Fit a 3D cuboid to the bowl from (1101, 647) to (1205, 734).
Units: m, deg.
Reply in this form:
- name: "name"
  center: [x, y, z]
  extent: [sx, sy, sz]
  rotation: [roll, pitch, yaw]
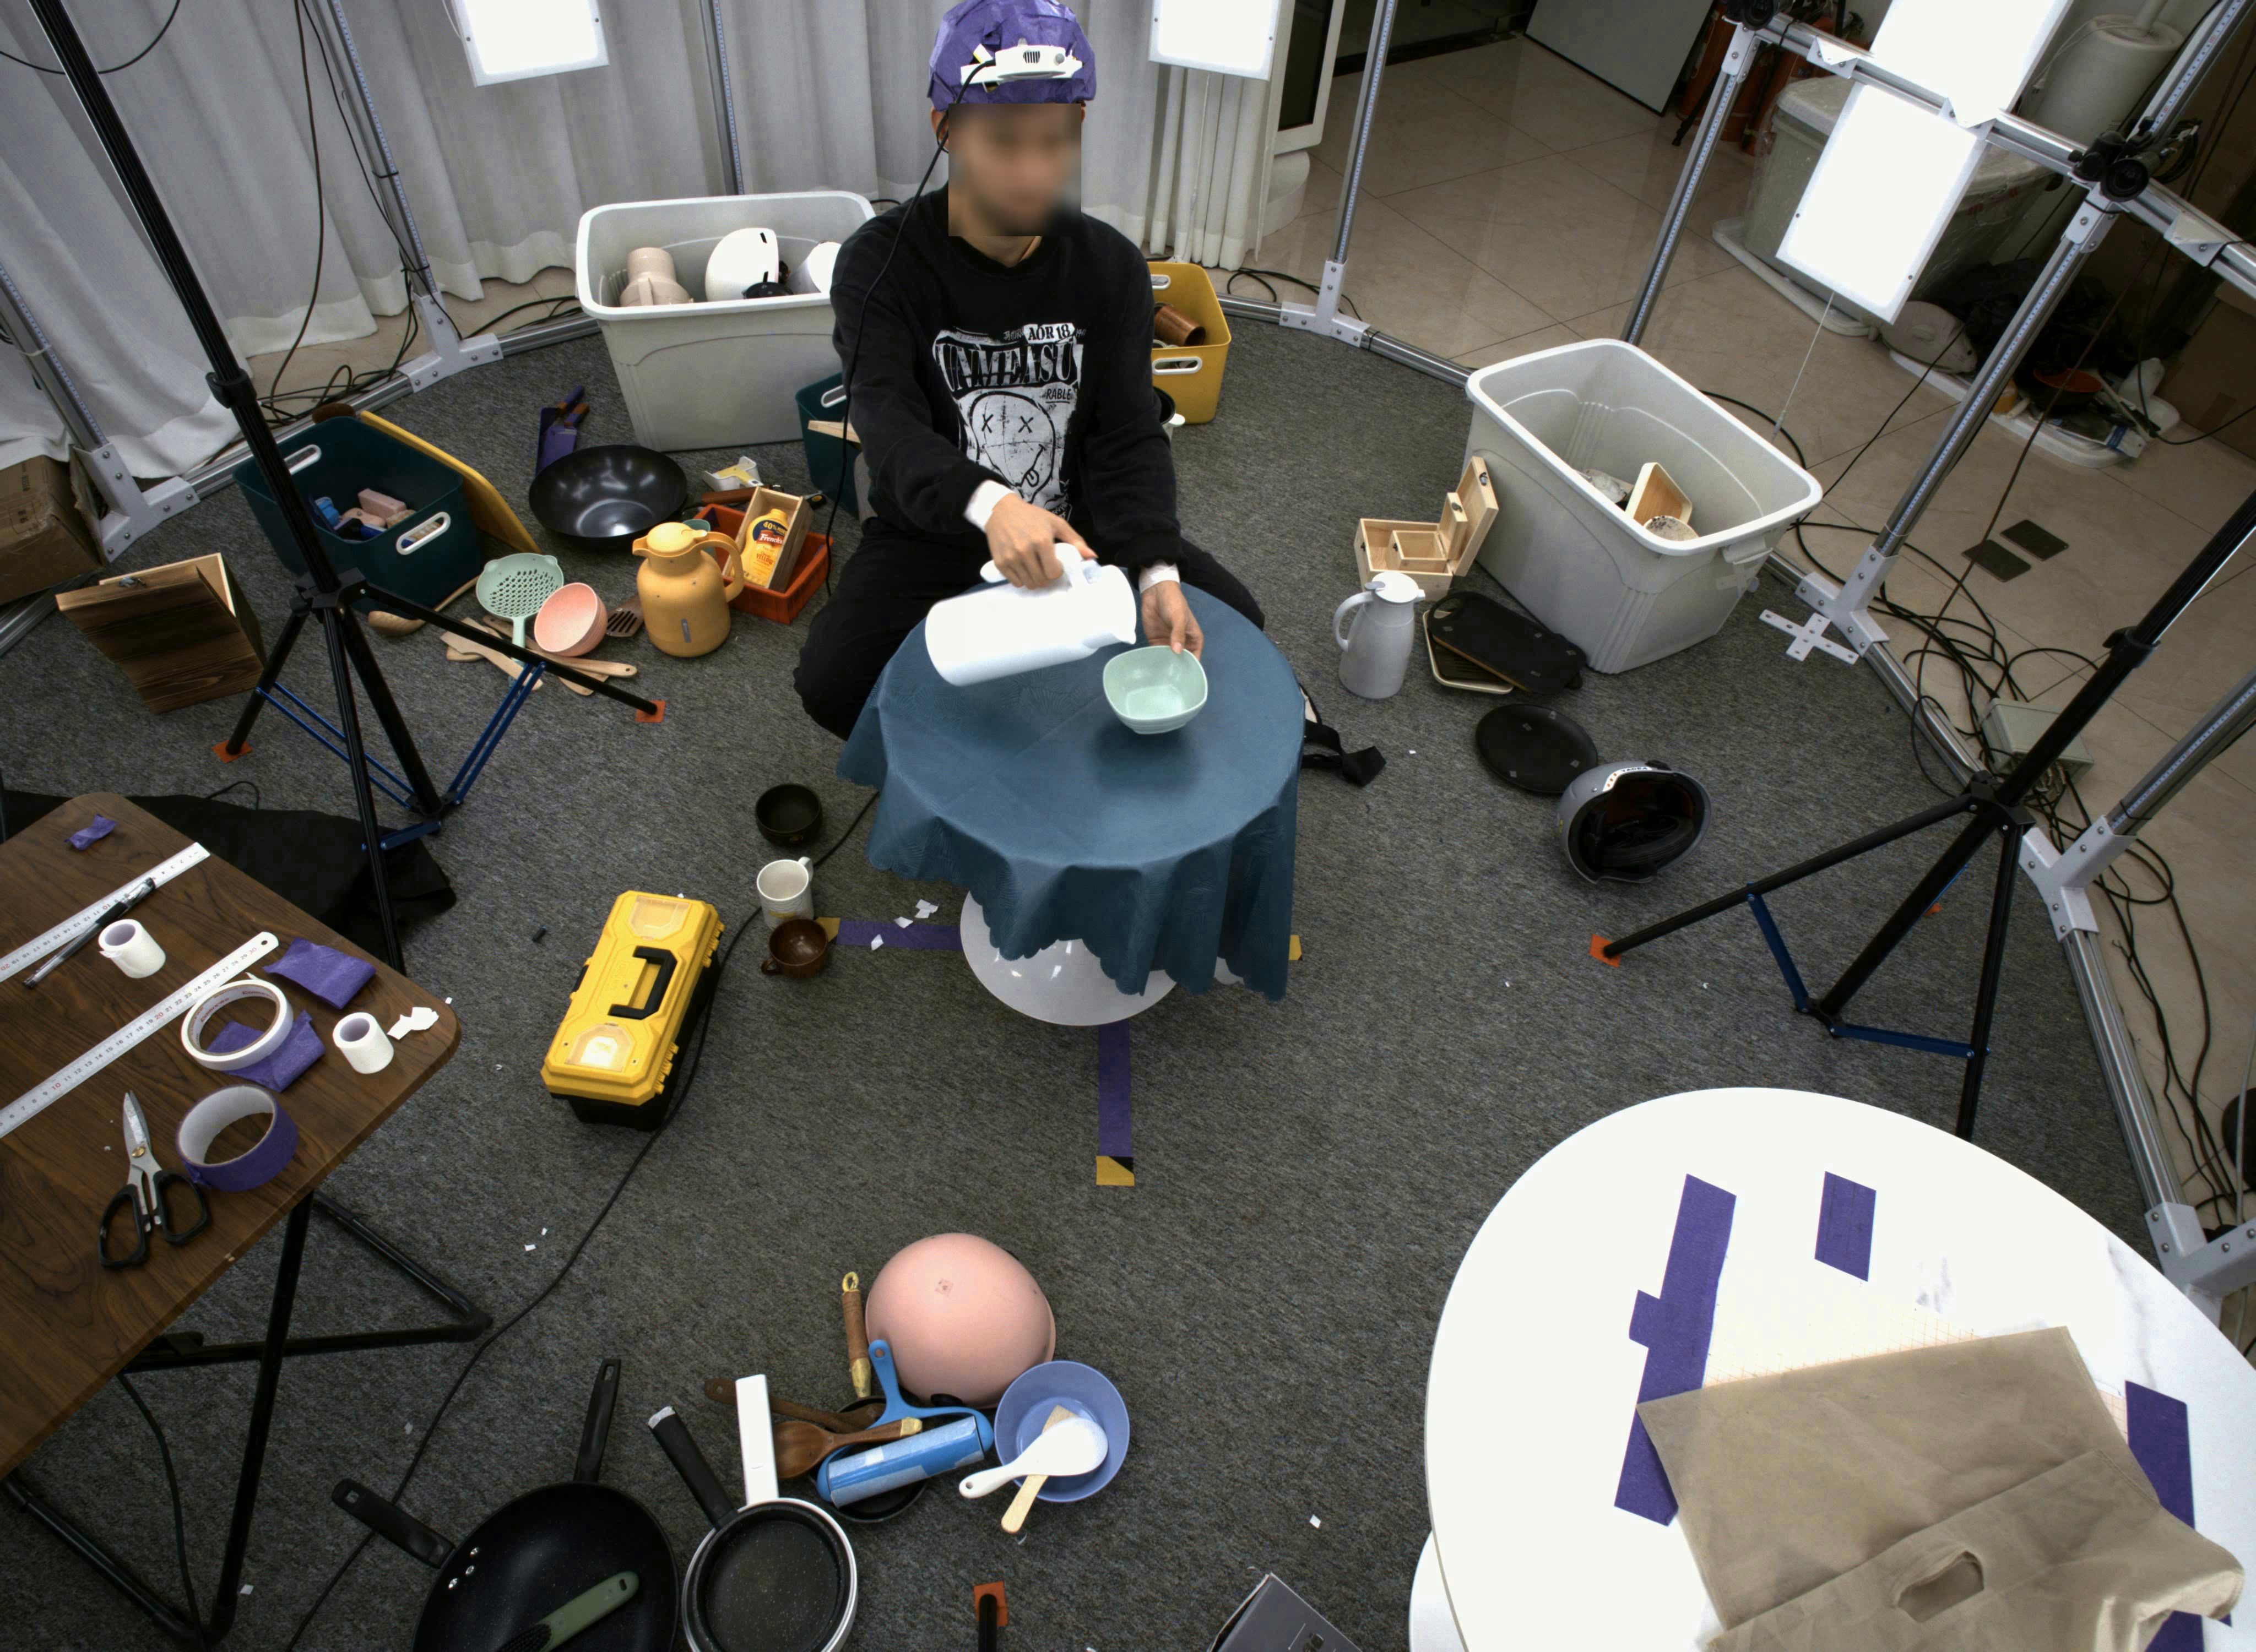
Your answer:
- name: "bowl"
  center: [0.034, -0.176, 1.751]
  extent: [0.151, 0.057, 0.155]
  rotation: [-2, 49, 2]

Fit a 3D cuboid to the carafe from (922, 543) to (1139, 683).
- name: "carafe"
  center: [-0.137, -0.275, 1.672]
  extent: [0.269, 0.169, 0.126]
  rotation: [-6, 50, 28]
